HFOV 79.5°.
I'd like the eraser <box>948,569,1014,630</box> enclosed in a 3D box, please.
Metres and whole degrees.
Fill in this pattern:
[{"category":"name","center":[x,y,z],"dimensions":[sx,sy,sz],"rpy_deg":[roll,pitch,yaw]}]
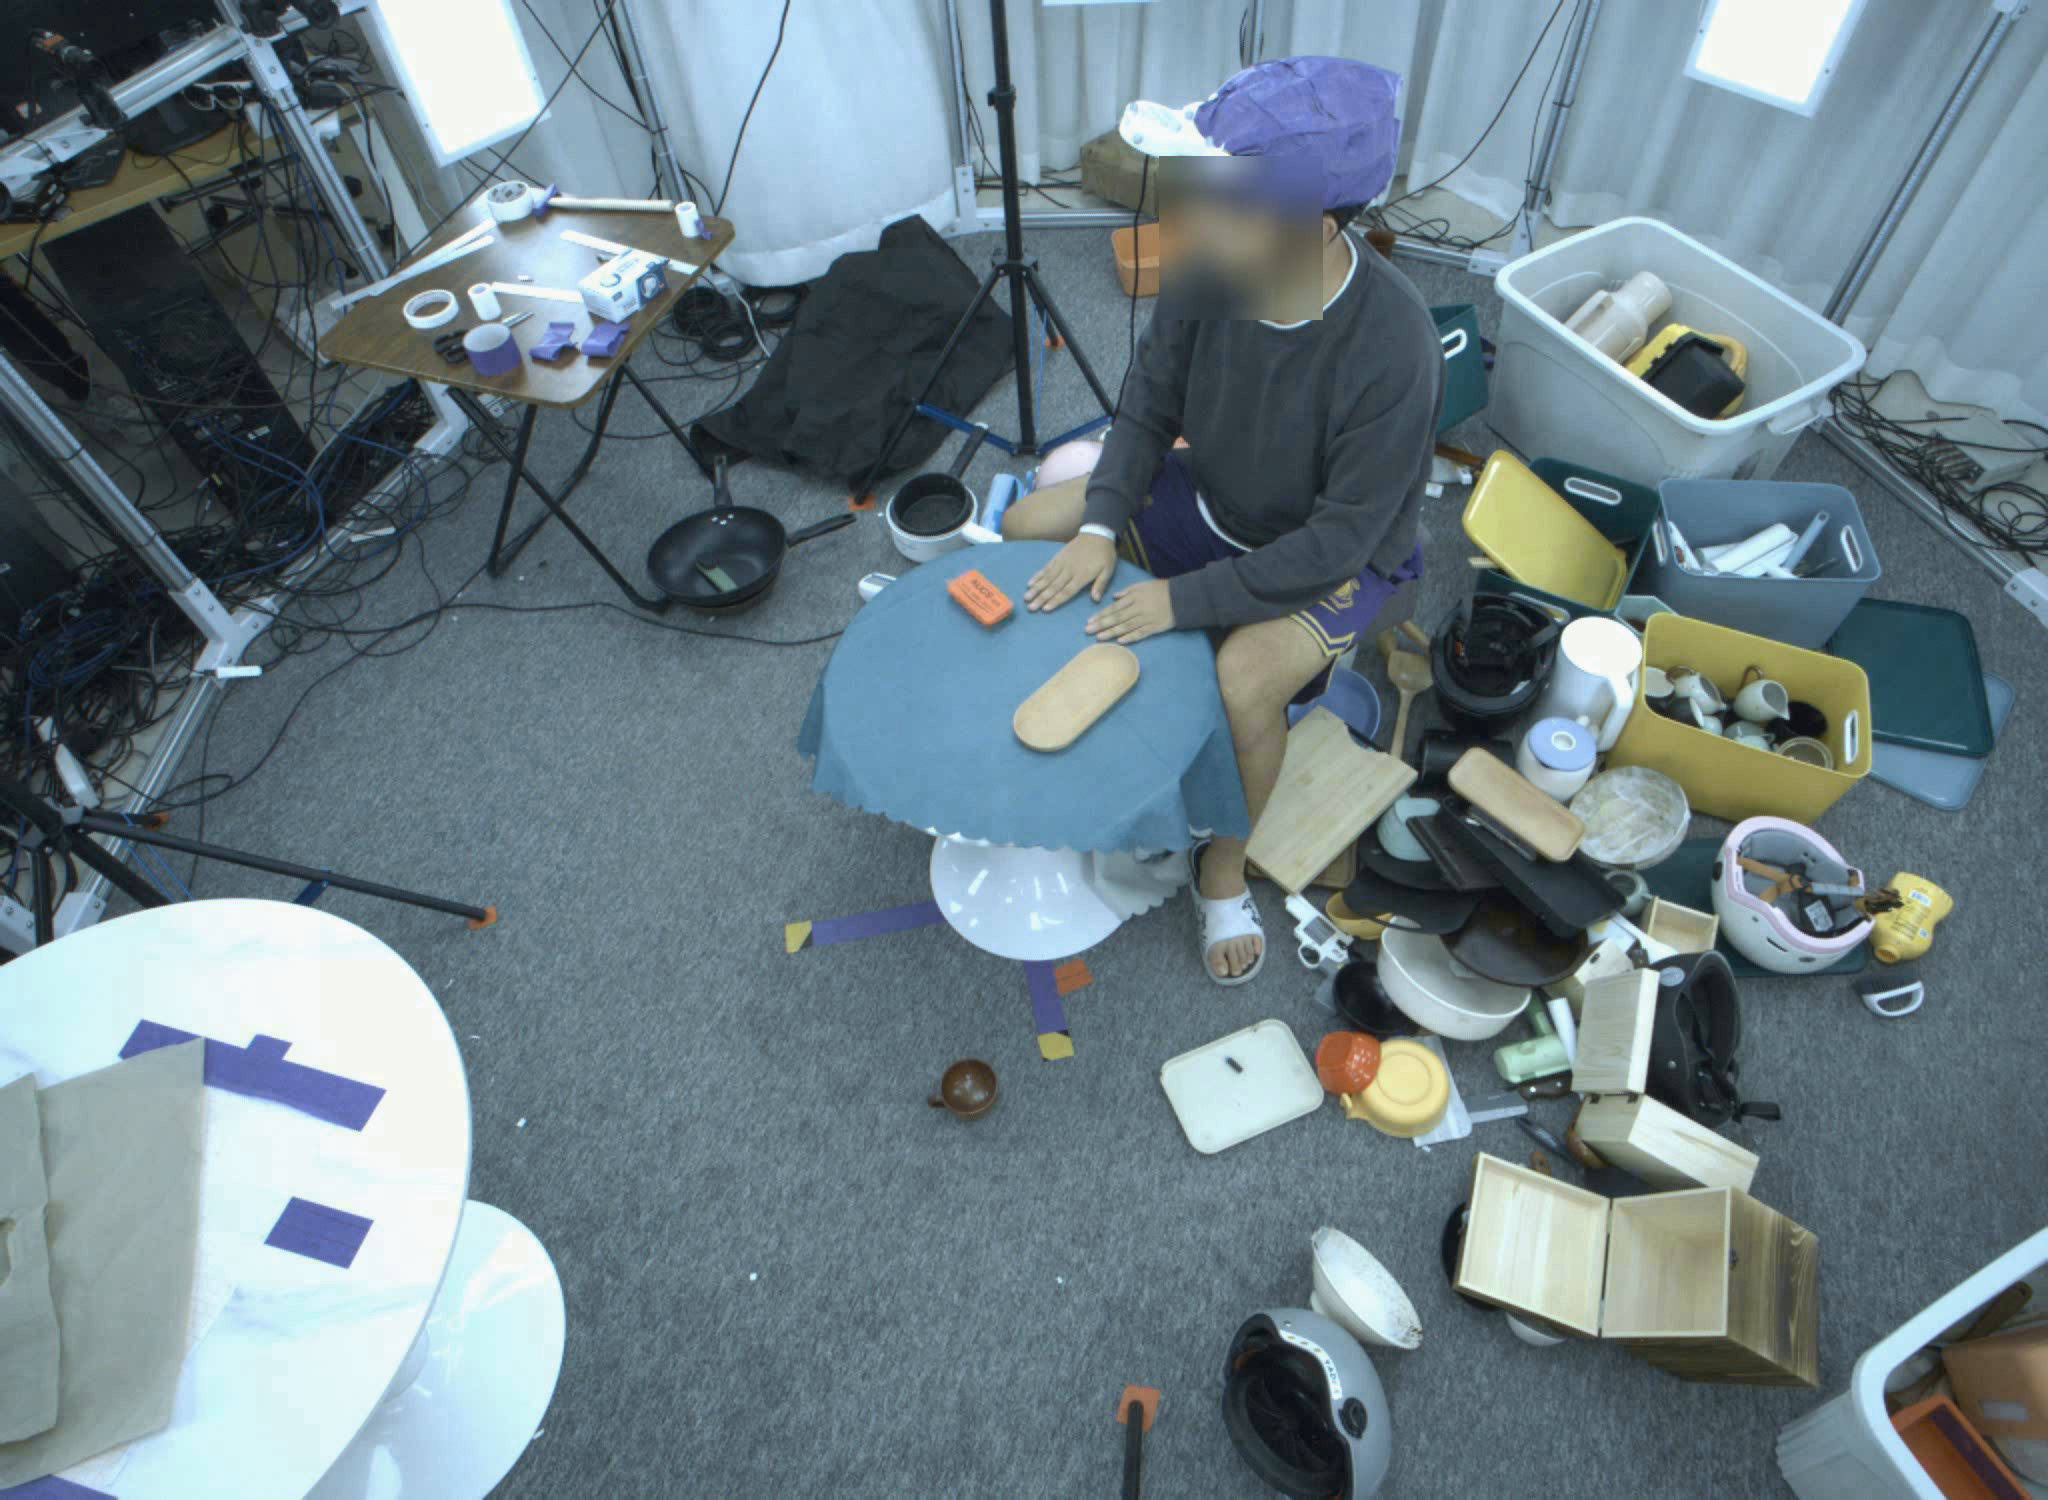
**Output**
[{"category":"eraser","center":[-0.069,-0.239,1.948],"dimensions":[0.059,0.023,0.106],"rpy_deg":[-38,61,-14]}]

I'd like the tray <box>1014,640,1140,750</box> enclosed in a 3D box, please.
[{"category":"tray","center":[0.080,-0.083,1.836],"dimensions":[0.100,0.020,0.233],"rpy_deg":[36,62,23]}]
